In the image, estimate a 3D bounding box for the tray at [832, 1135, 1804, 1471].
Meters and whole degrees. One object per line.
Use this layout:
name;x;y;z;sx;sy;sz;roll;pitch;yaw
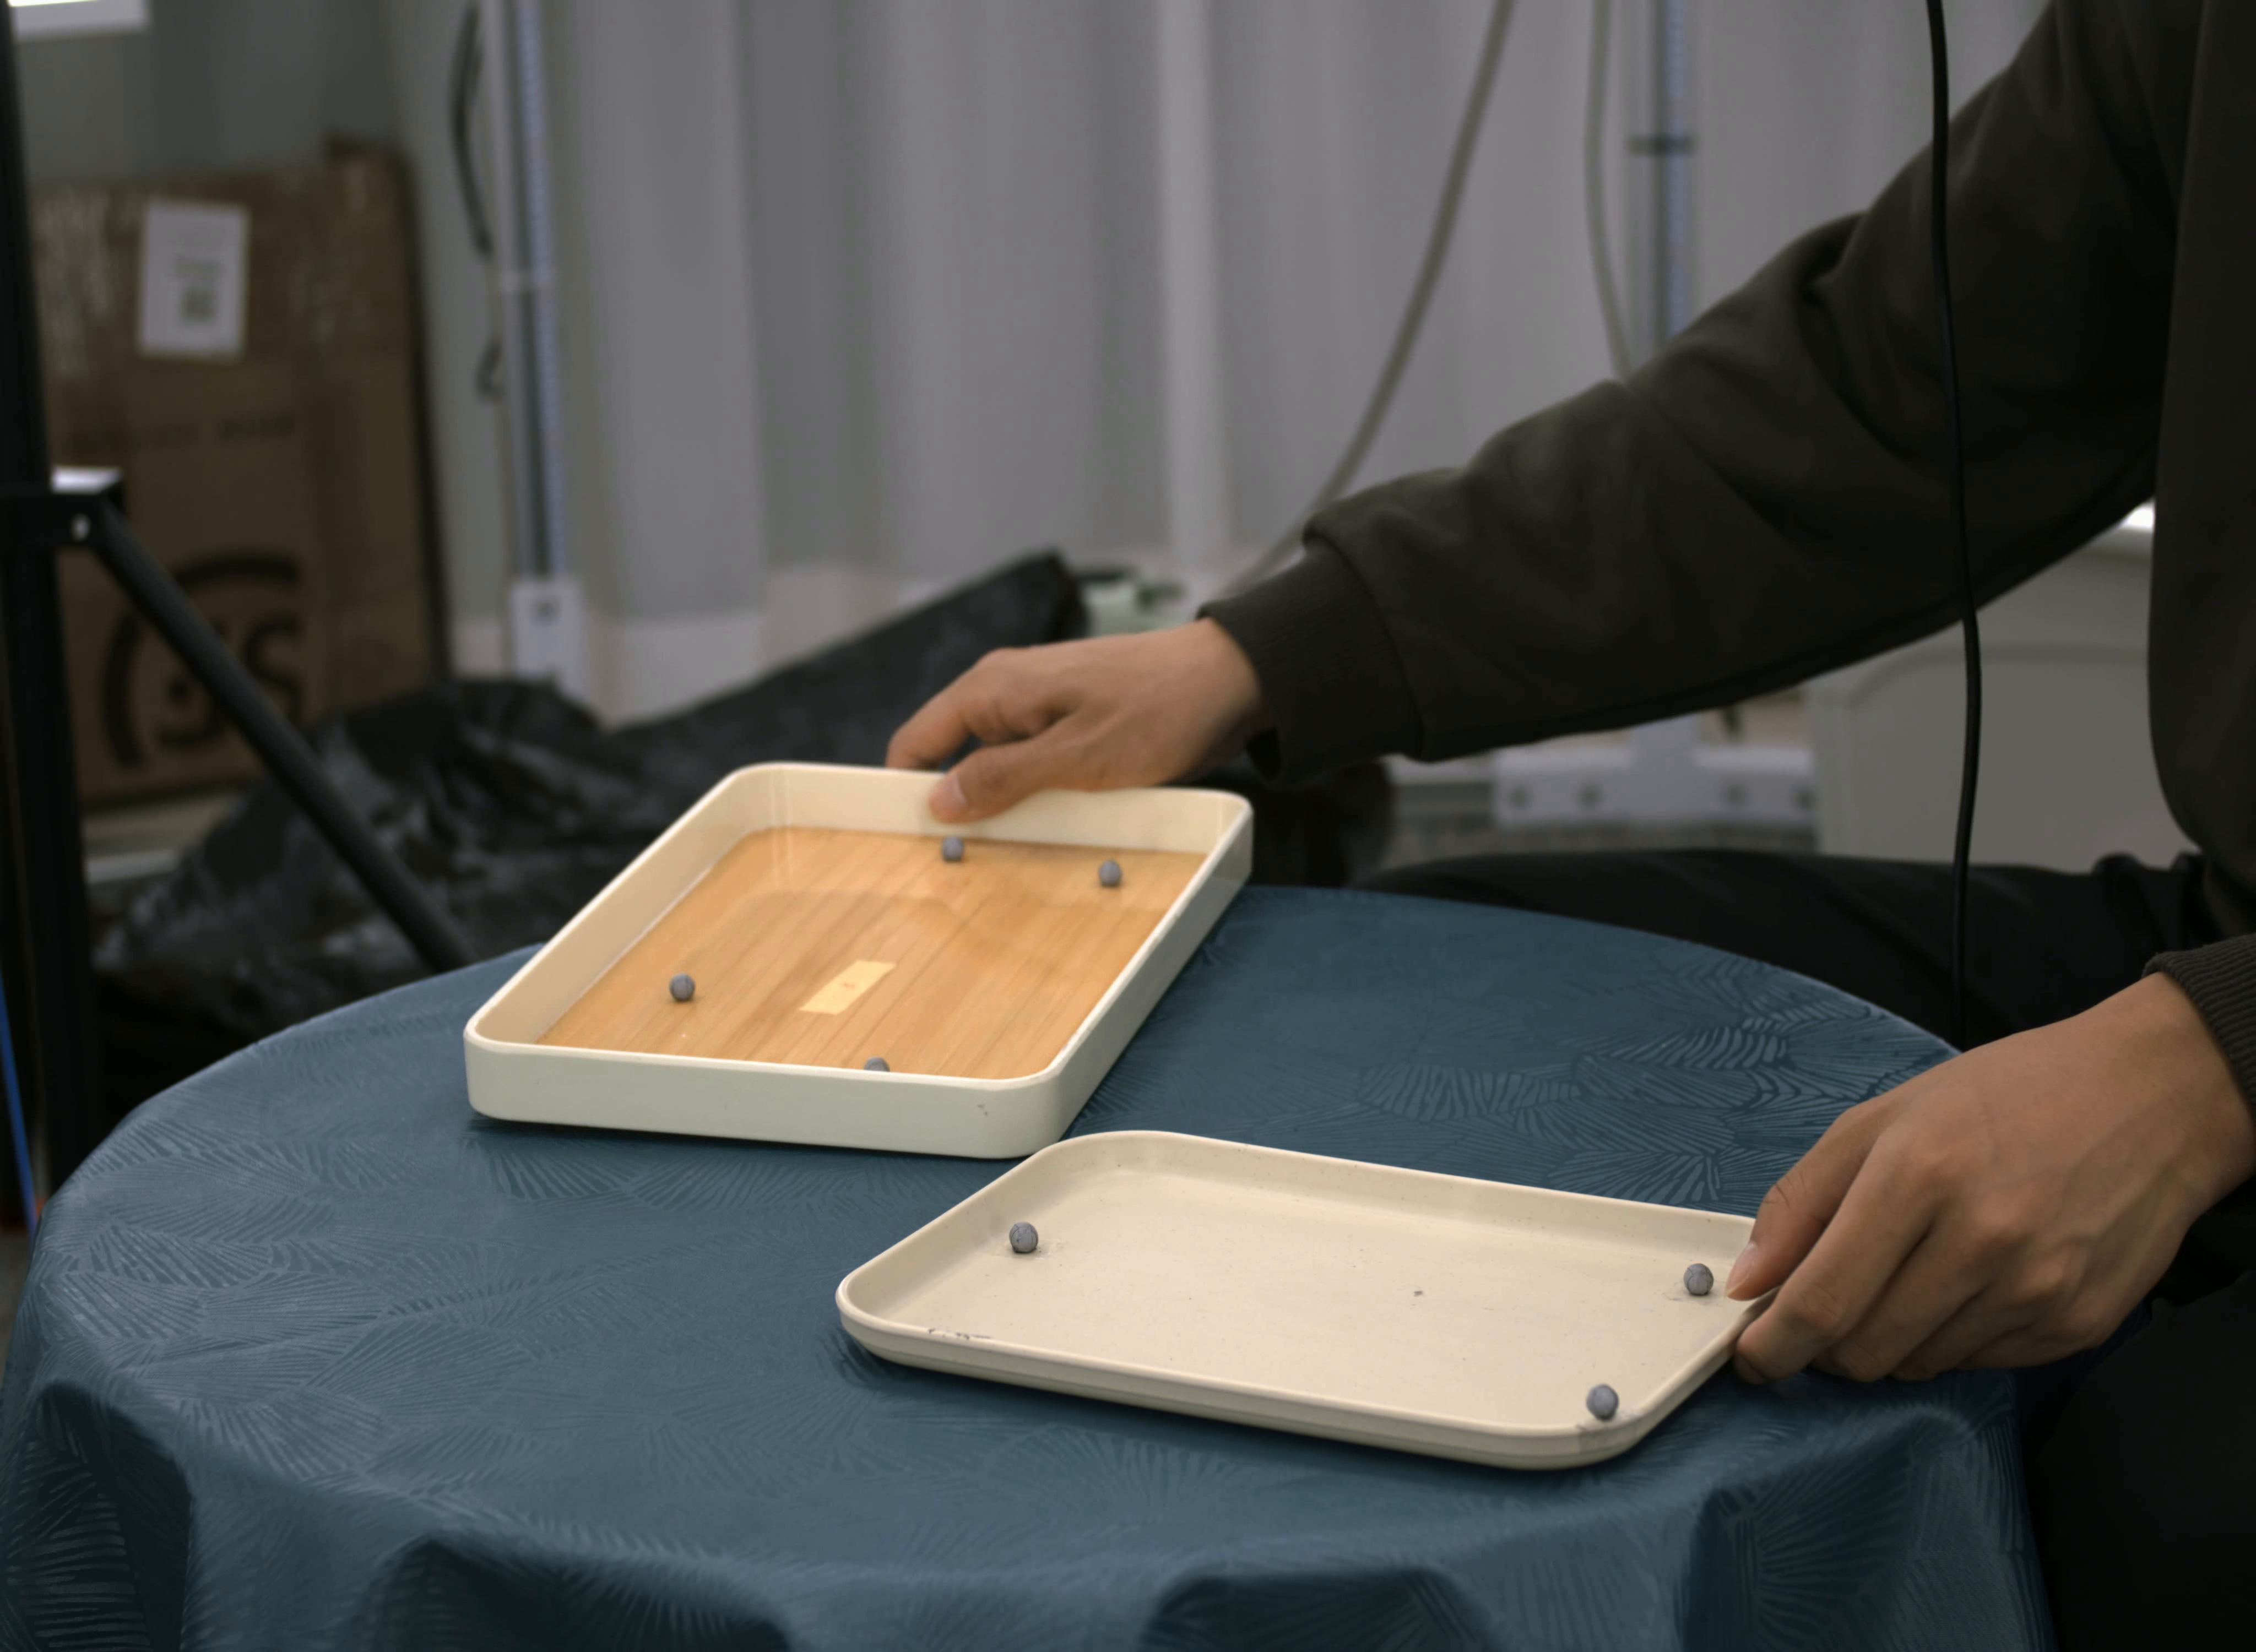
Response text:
tray;0.053;0.129;1.447;0.244;0.017;0.168;6;17;28

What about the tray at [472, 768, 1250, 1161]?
tray;-0.079;0.041;1.743;0.193;0.027;0.298;3;18;14
